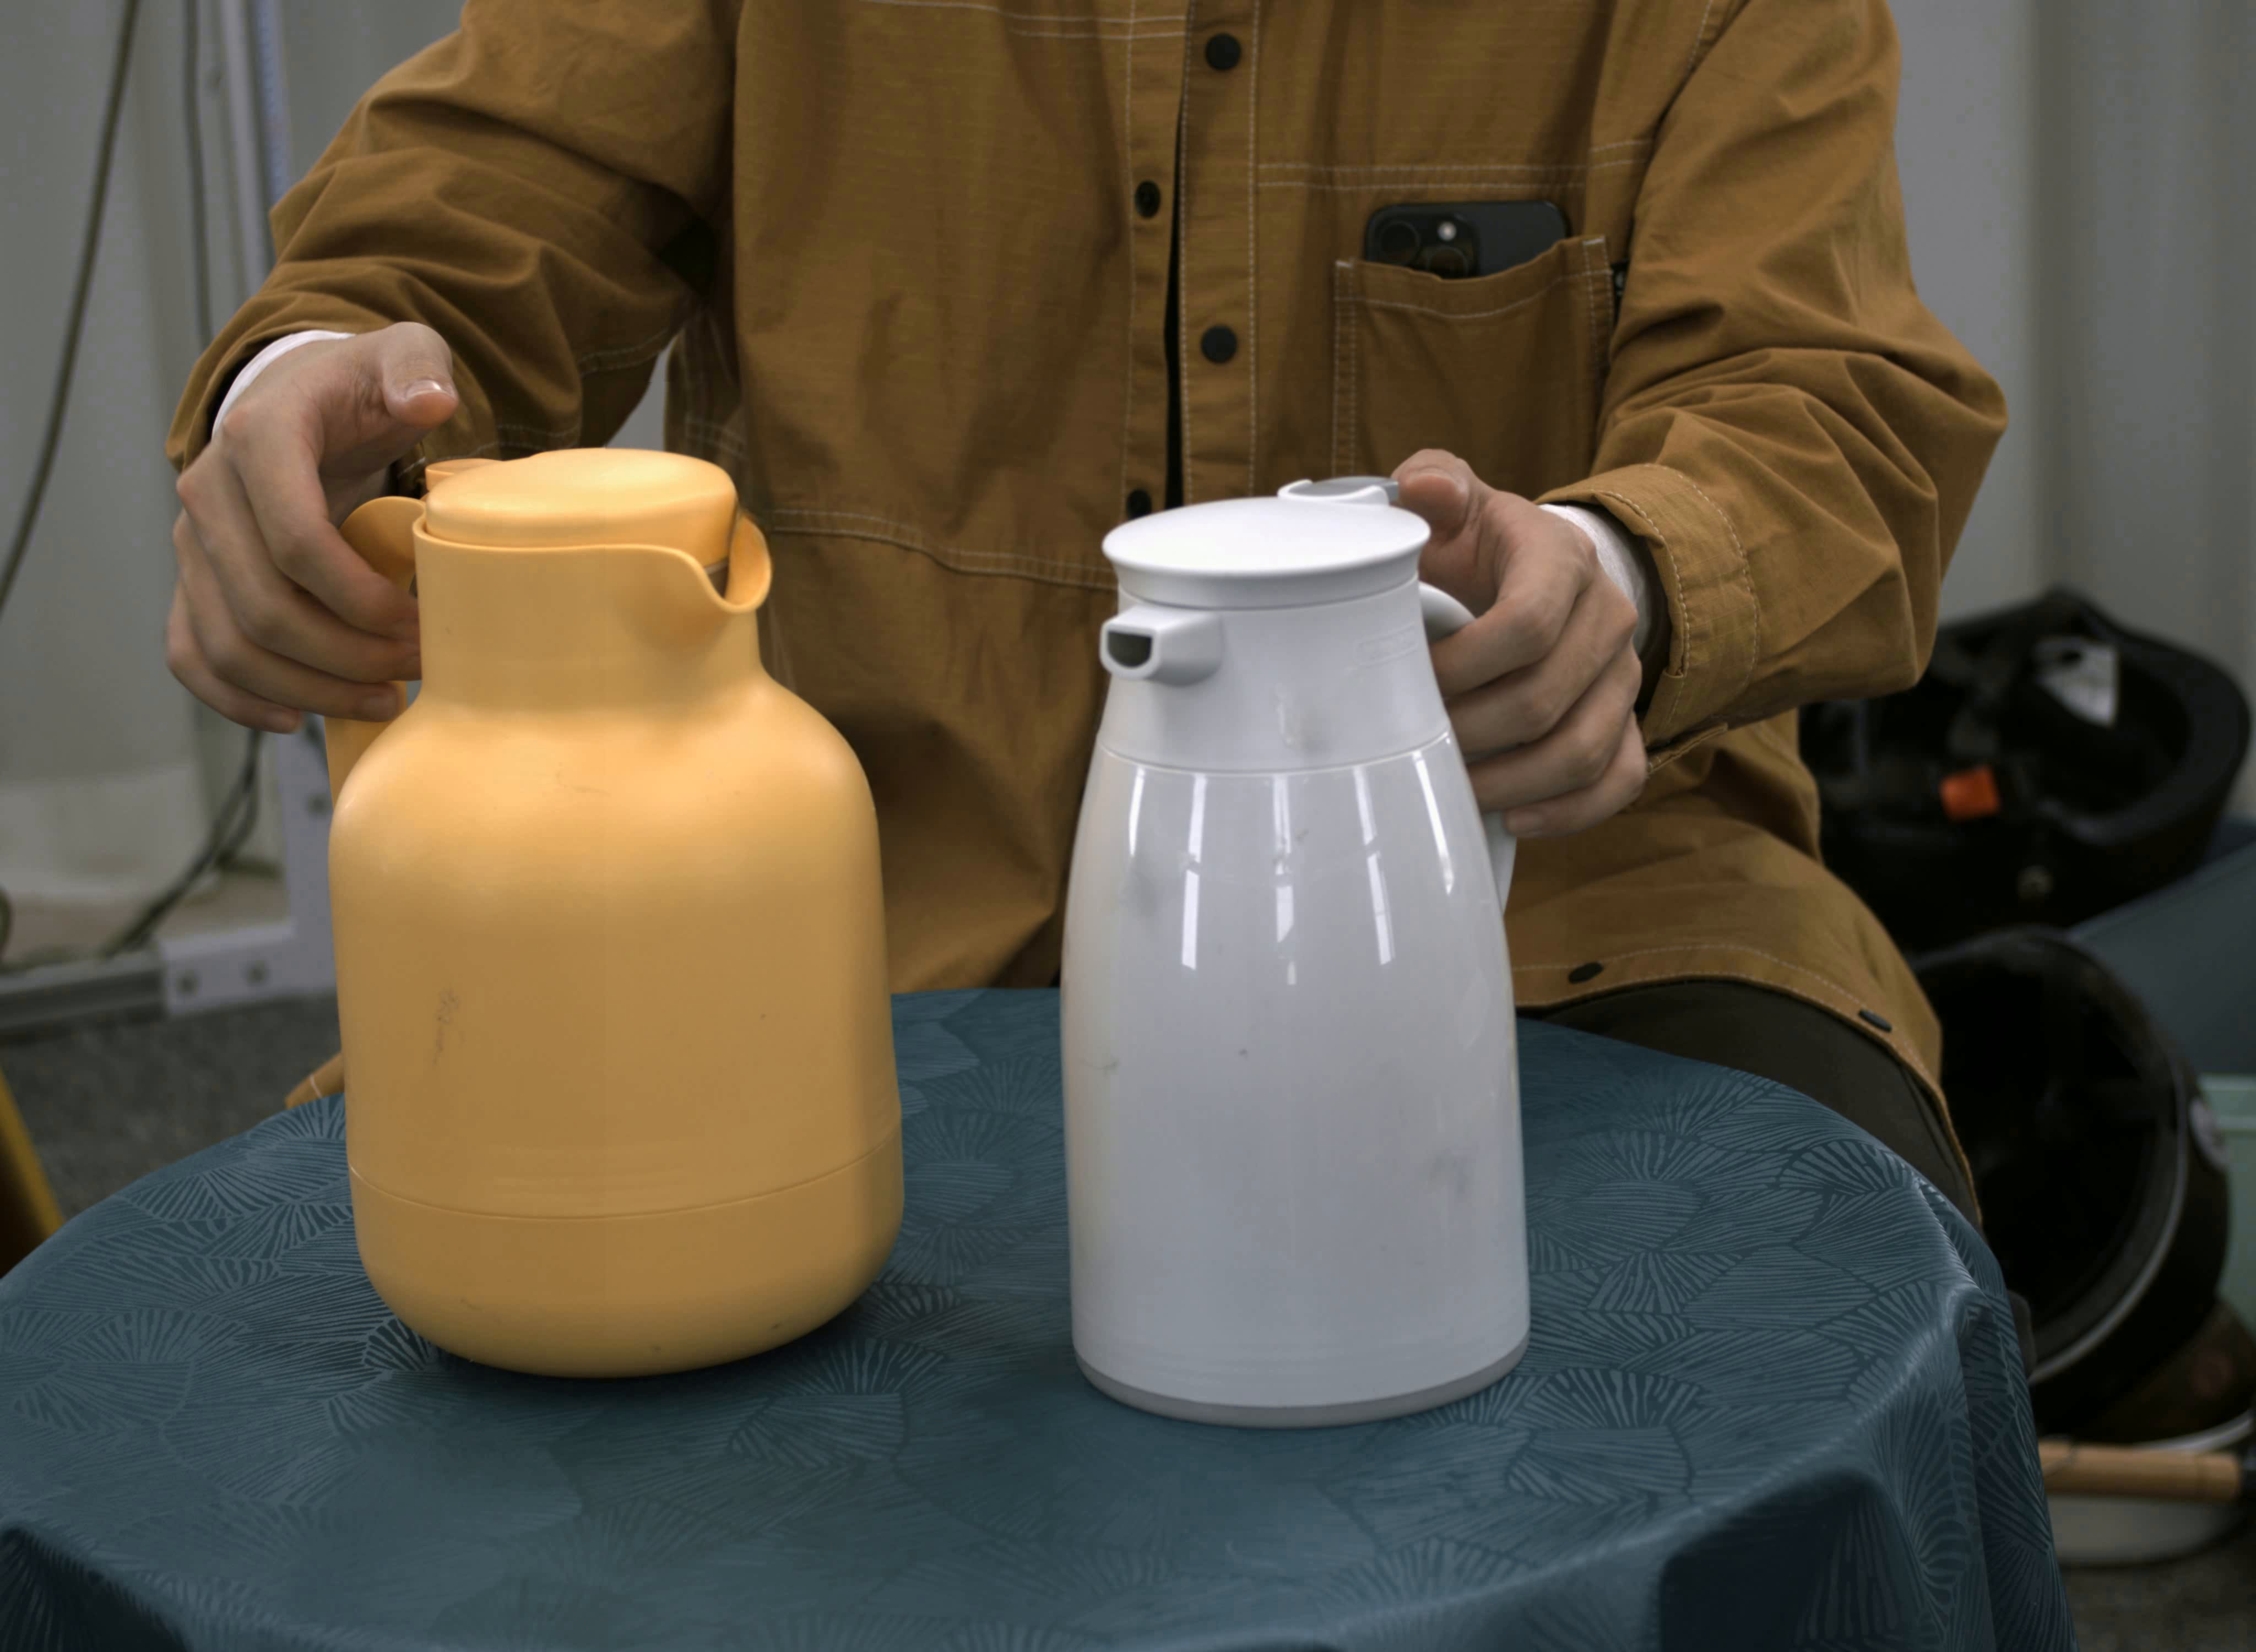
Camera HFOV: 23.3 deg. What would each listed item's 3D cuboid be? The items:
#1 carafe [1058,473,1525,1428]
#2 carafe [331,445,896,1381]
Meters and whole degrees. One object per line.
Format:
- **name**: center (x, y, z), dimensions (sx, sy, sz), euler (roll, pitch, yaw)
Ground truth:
- **carafe**: center (0.054, 0.026, 1.558), dimensions (0.133, 0.248, 0.167), euler (8, 17, 37)
- **carafe**: center (-0.163, 0.017, 1.612), dimensions (0.163, 0.259, 0.204), euler (-11, 17, -39)
